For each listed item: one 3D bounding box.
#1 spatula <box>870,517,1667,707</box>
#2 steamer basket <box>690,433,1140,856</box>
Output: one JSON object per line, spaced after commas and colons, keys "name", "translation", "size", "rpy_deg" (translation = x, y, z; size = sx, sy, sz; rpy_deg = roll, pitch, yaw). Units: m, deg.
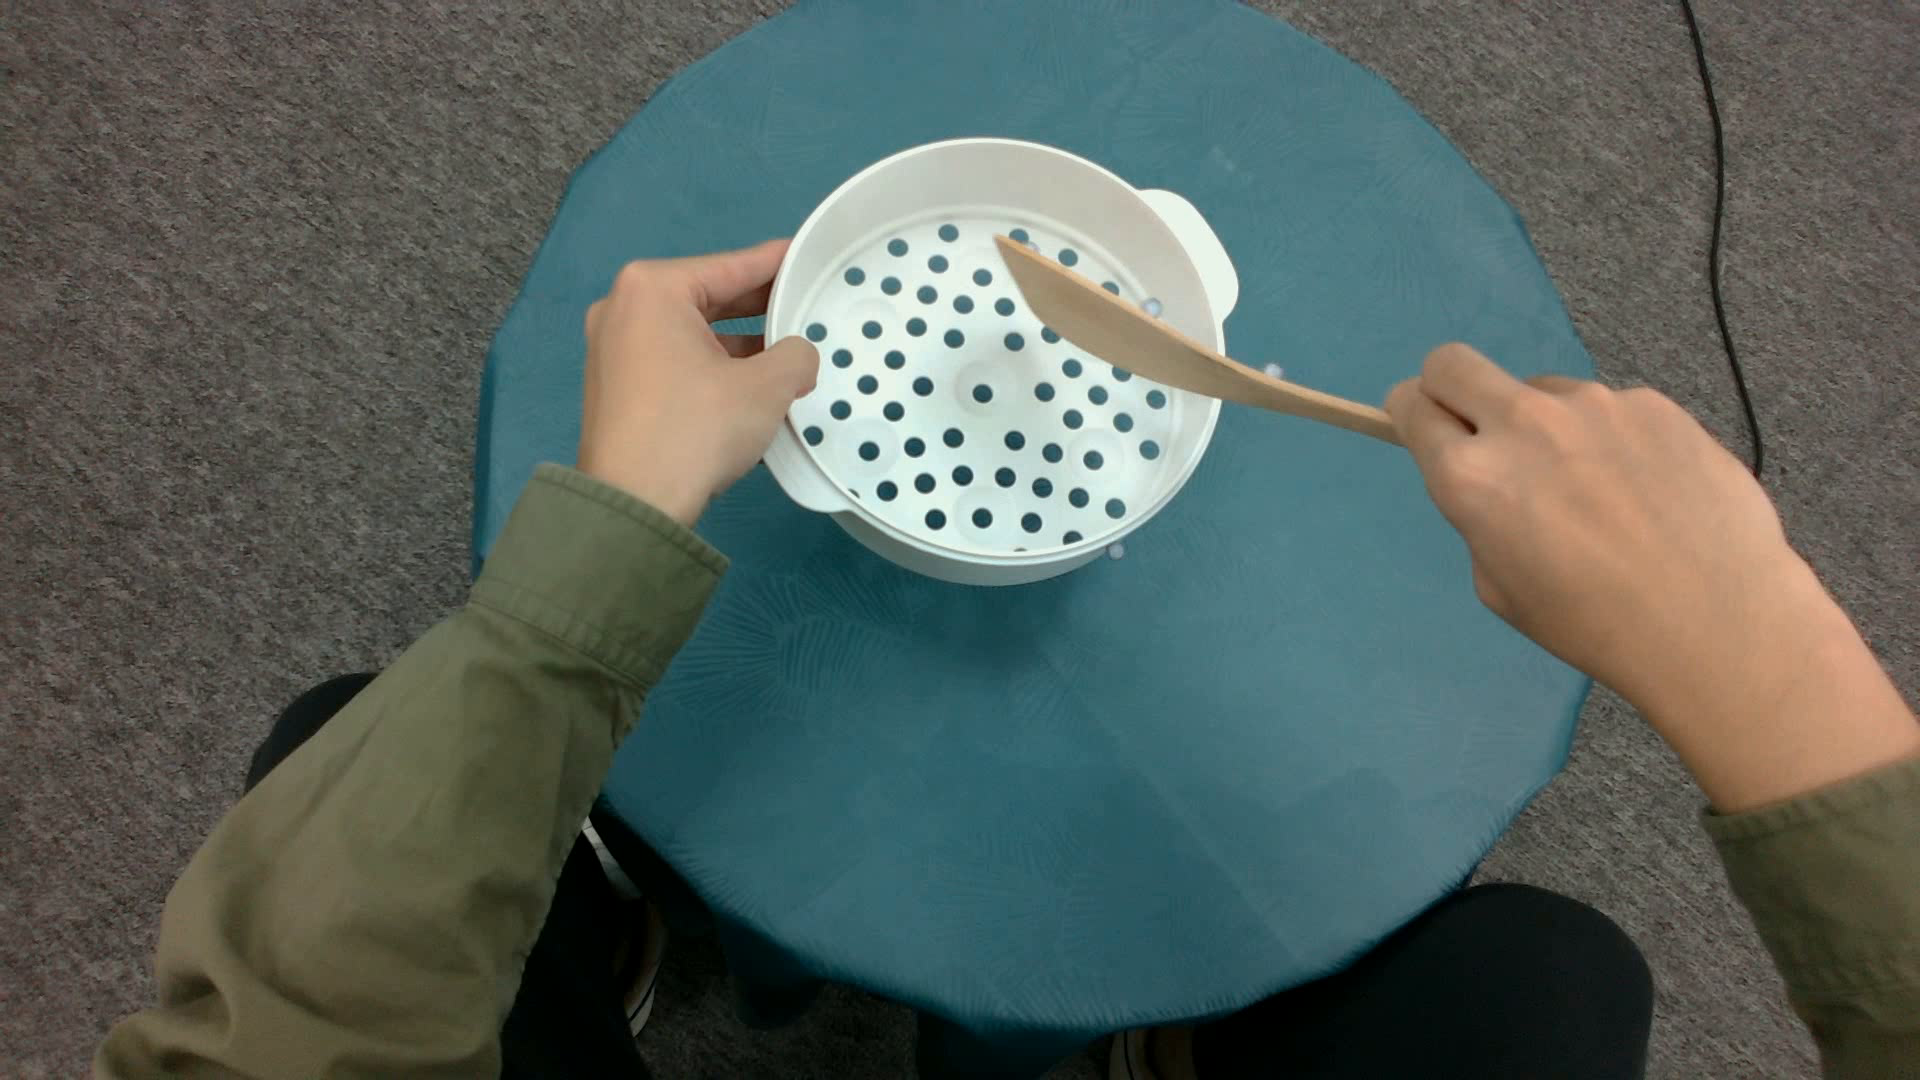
{"name": "spatula", "translation": [0.099, 0.028, 0.545], "size": [0.327, 0.080, 0.016], "rpy_deg": [7, 65, 33]}
{"name": "steamer basket", "translation": [-0.019, 0.049, 0.656], "size": [0.231, 0.069, 0.202], "rpy_deg": [-35, 69, -20]}
